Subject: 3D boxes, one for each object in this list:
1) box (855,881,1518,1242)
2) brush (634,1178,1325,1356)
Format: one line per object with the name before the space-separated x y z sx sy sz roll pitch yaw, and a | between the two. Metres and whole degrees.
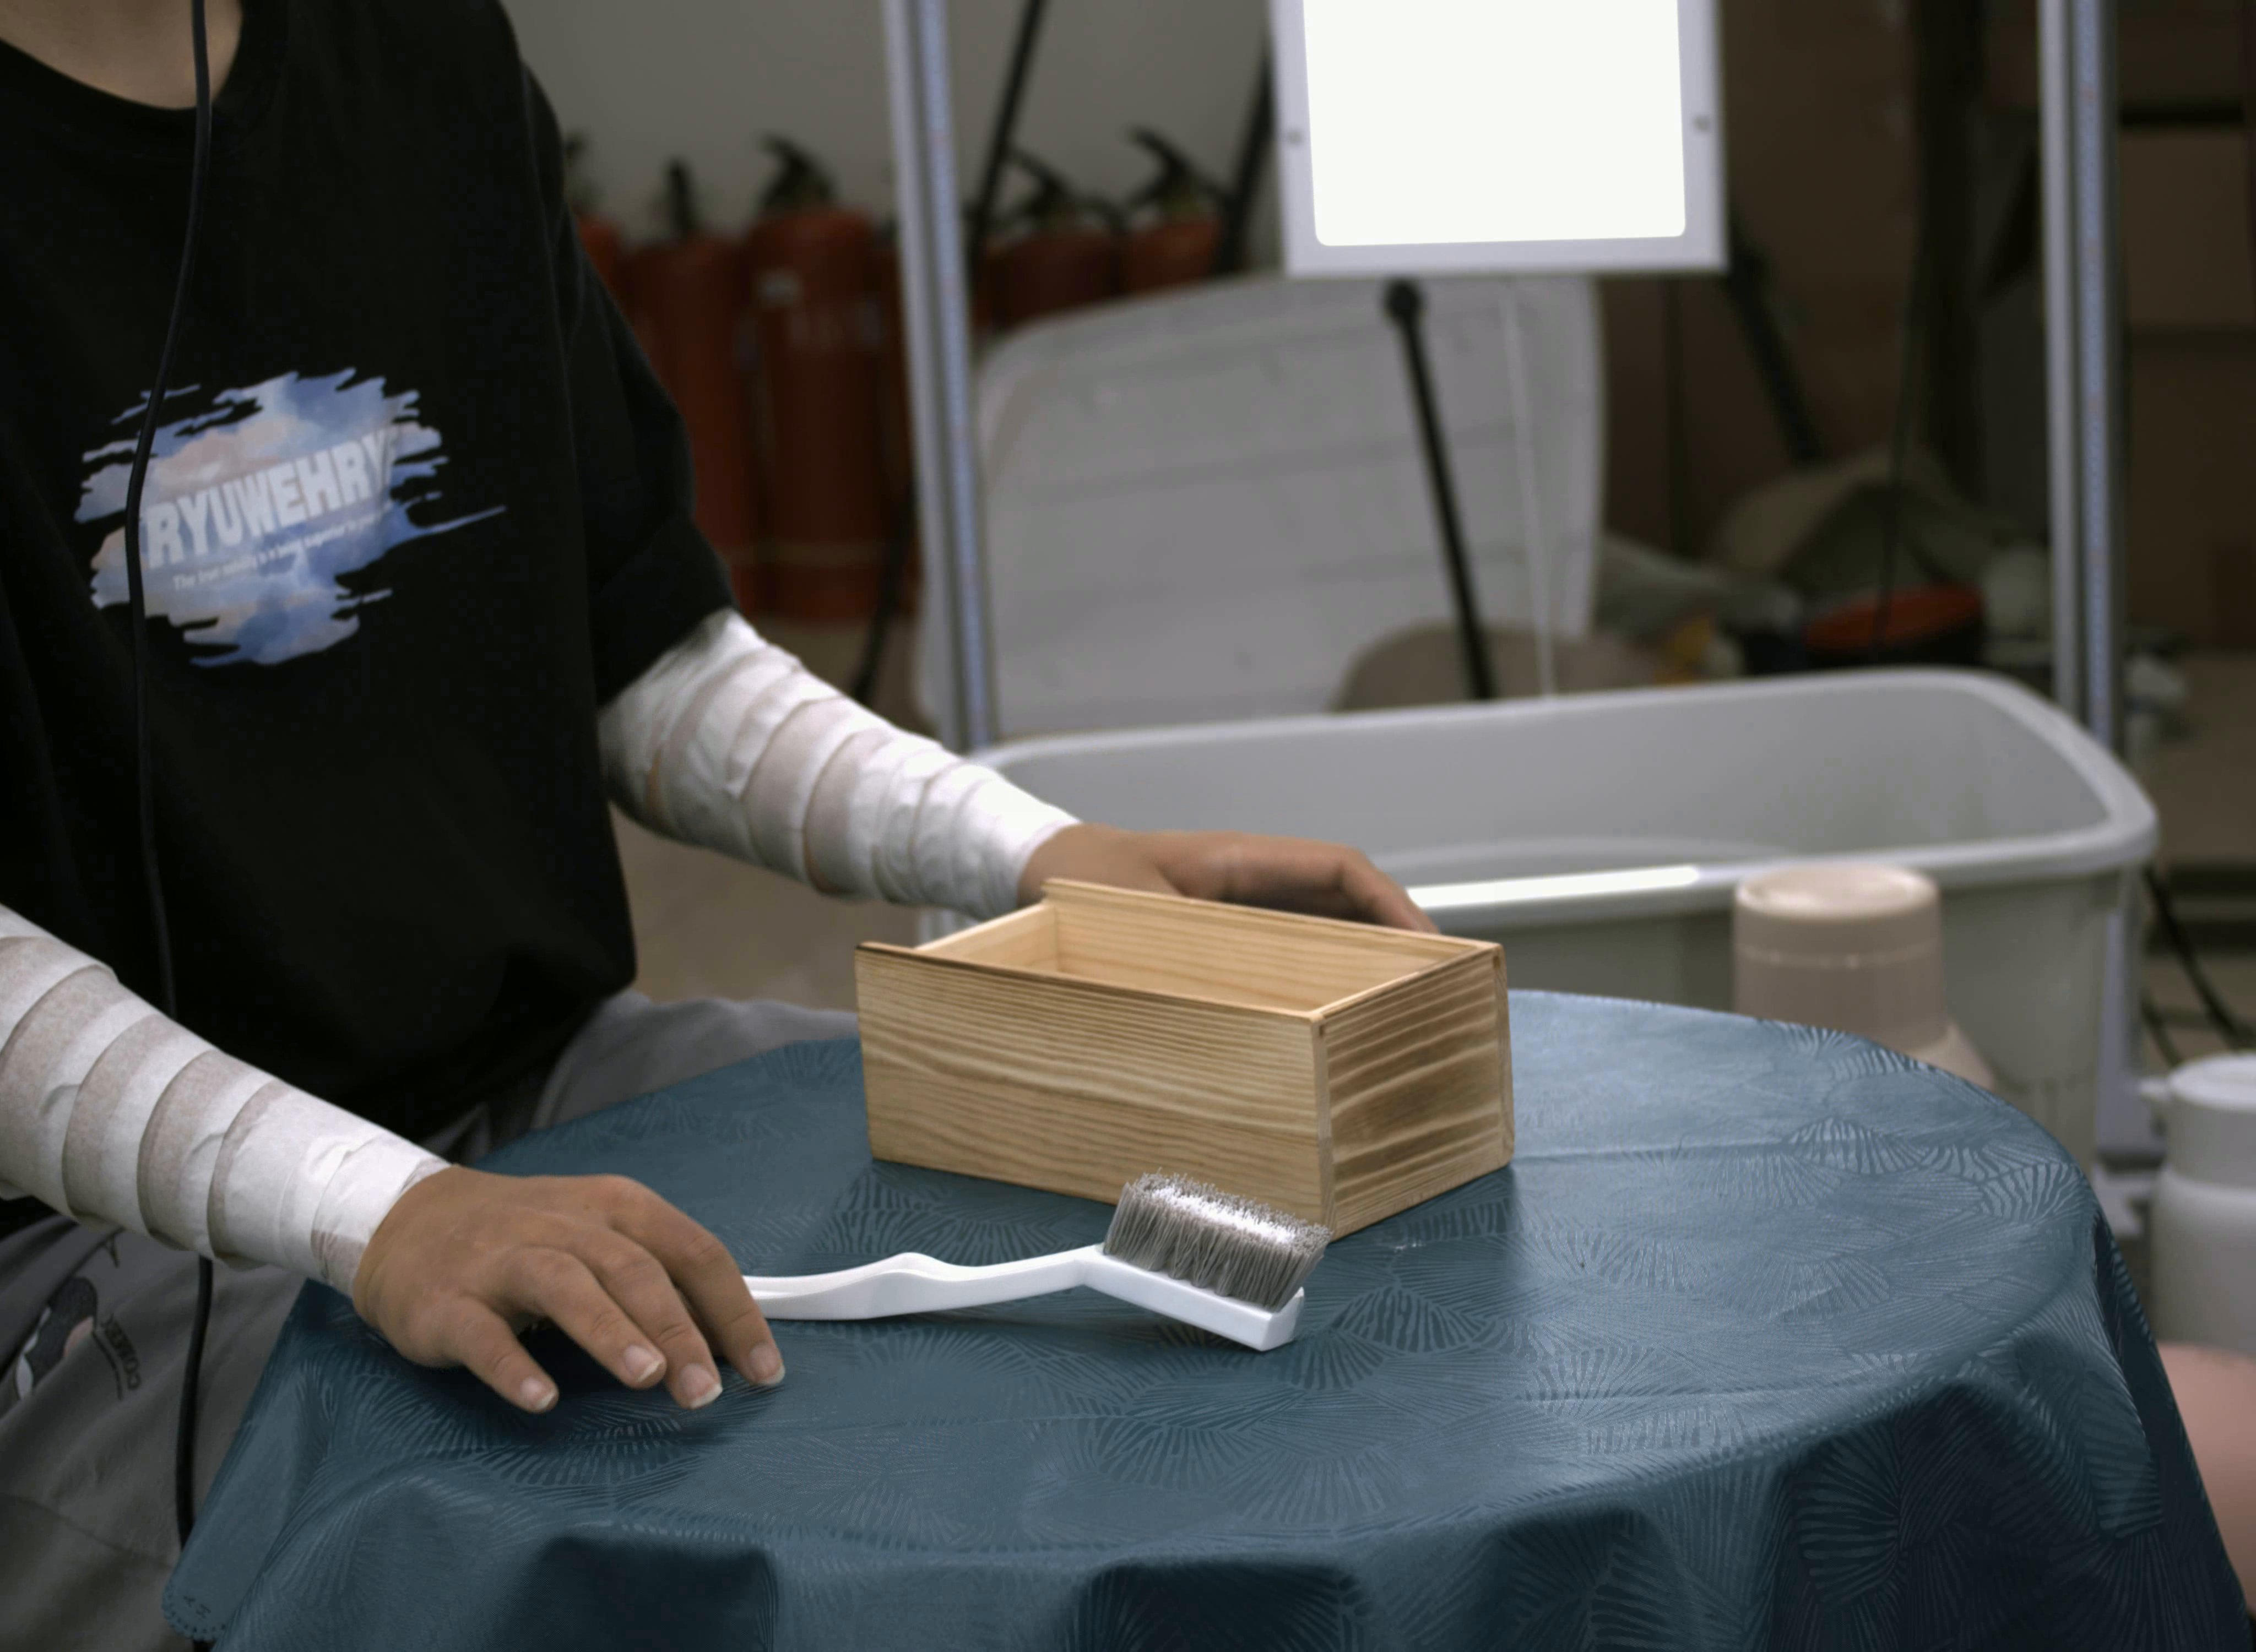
box | 0.020 0.079 1.918 0.216 0.080 0.105 6 18 42
brush | -0.052 0.135 1.776 0.248 0.050 0.033 3 15 26
